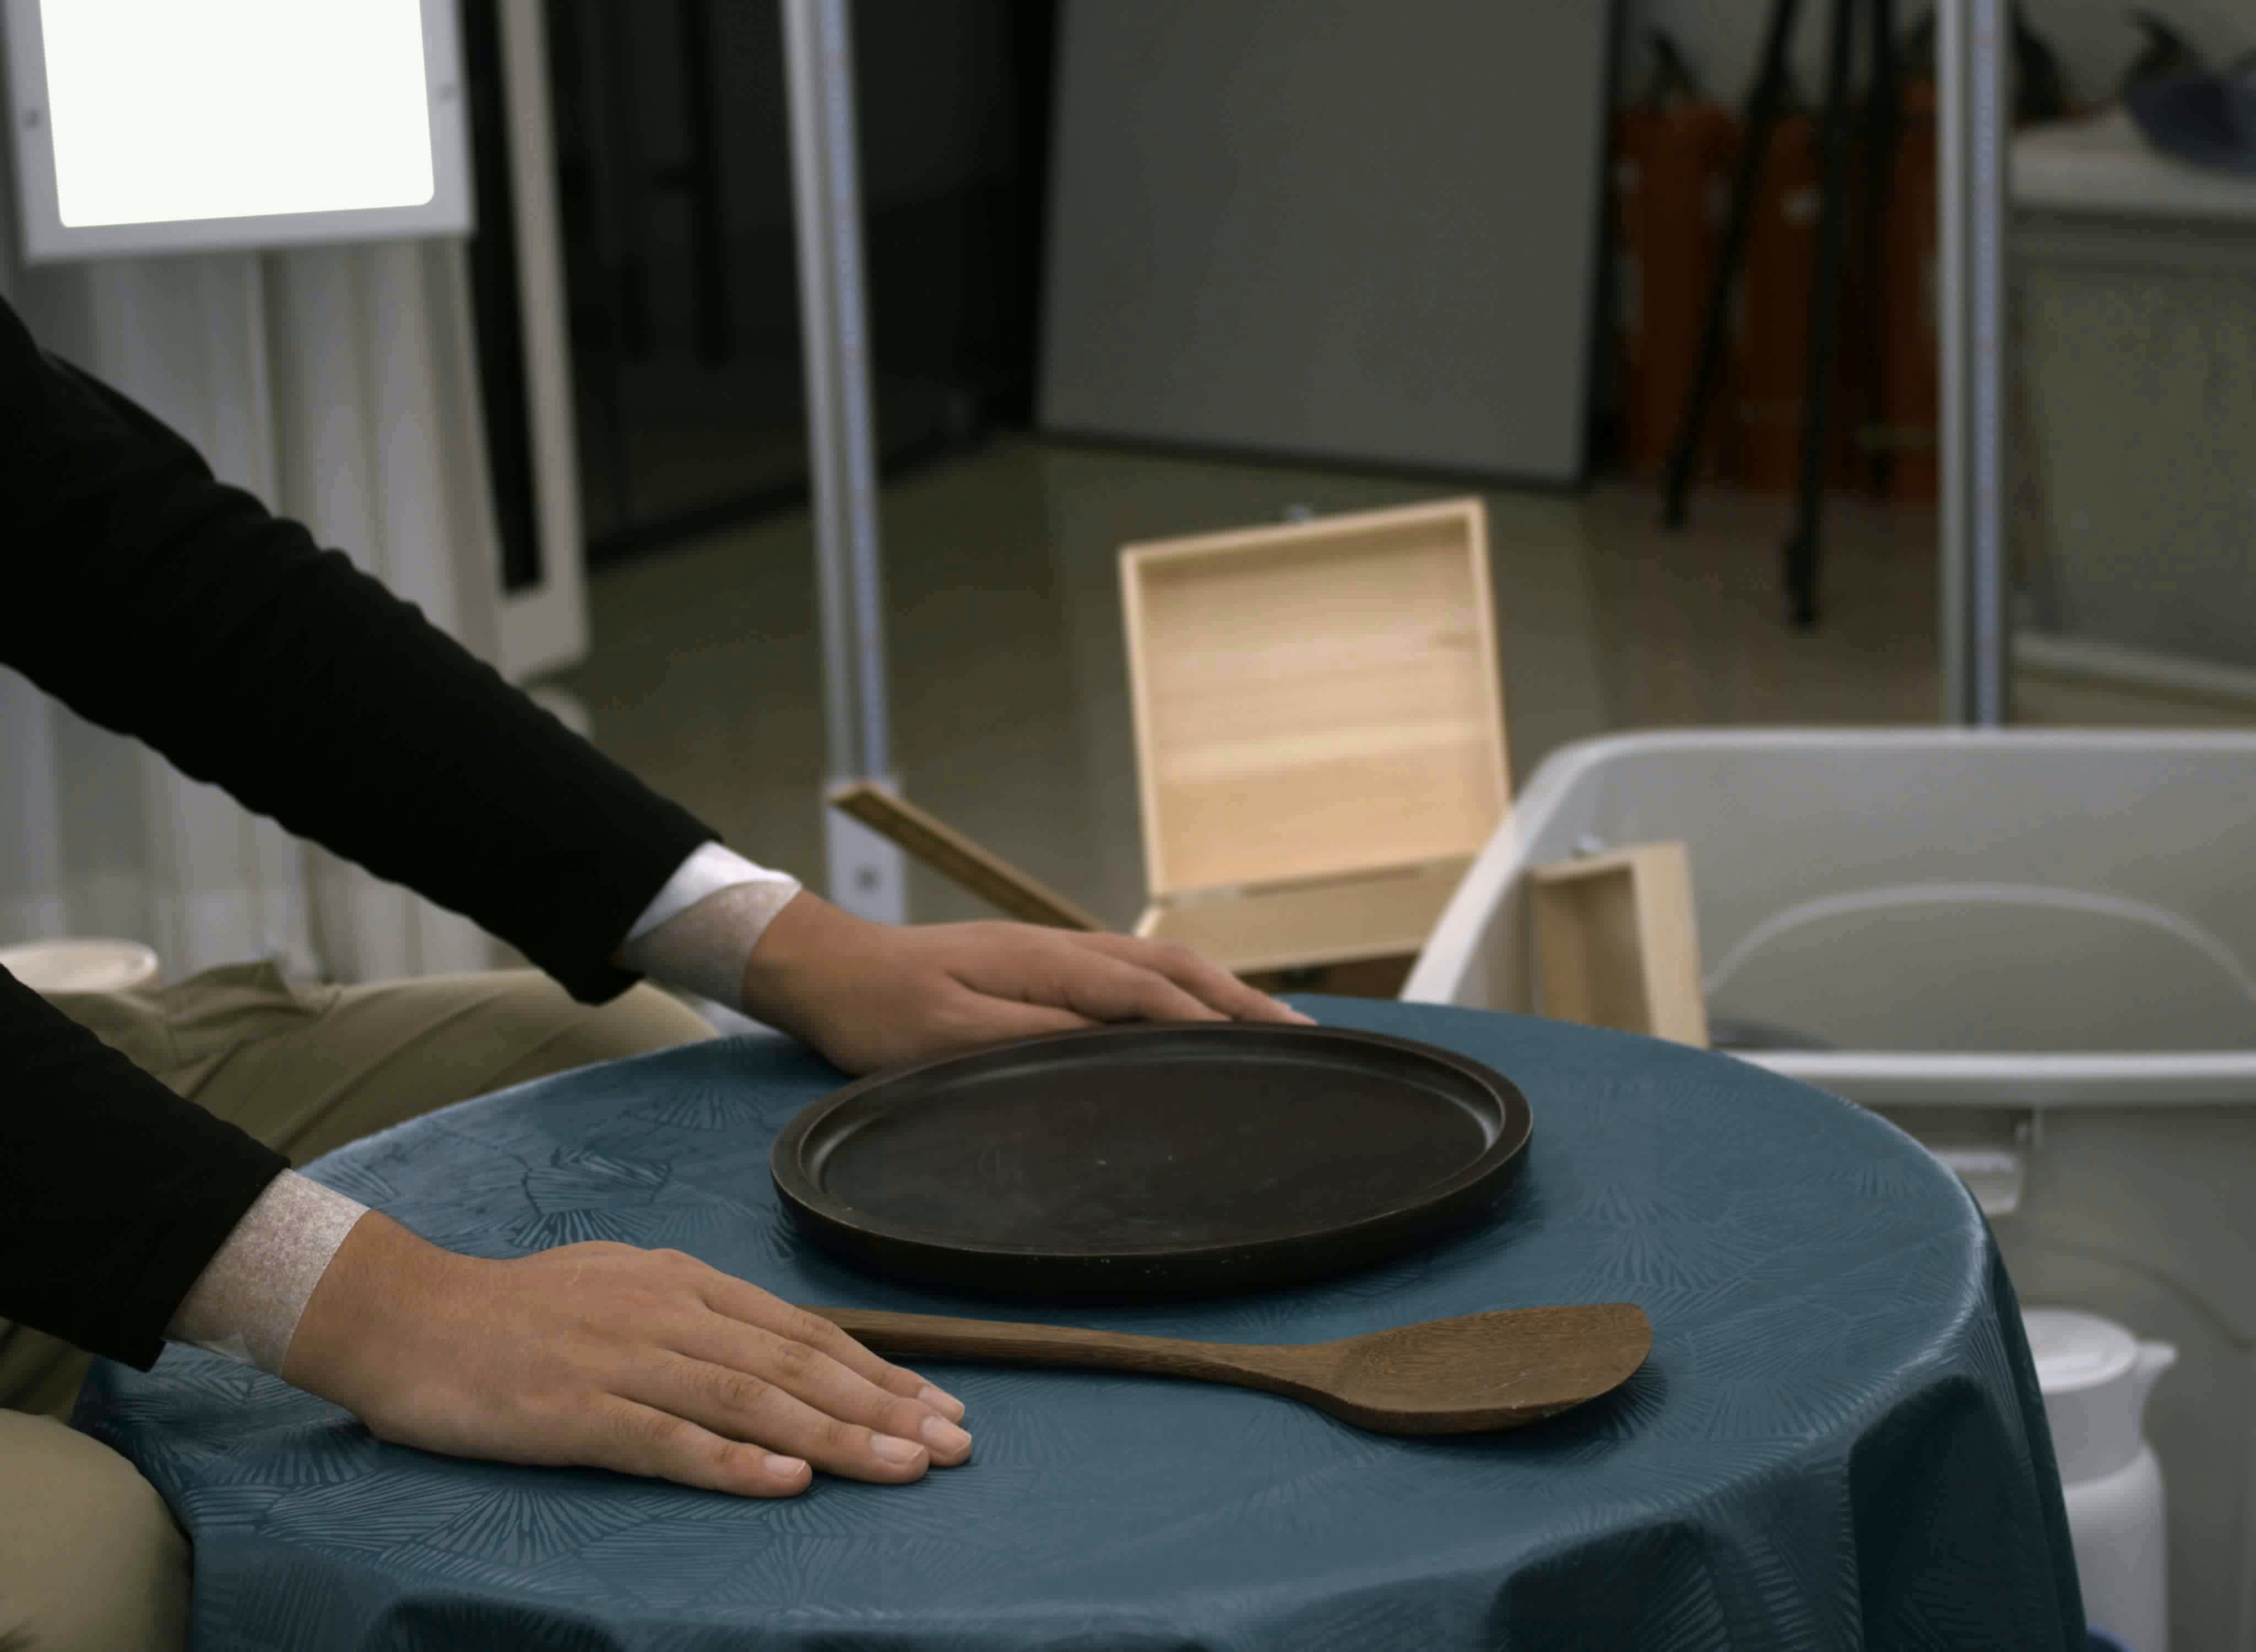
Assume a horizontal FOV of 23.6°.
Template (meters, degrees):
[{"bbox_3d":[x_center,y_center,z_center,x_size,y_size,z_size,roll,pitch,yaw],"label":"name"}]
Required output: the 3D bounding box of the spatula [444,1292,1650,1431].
[{"bbox_3d":[-0.032,0.155,1.611,0.385,0.016,0.095,1,14,21],"label":"spatula"}]

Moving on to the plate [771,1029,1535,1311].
[{"bbox_3d":[0.009,0.109,1.764,0.251,0.029,0.255,-5,15,0],"label":"plate"}]
